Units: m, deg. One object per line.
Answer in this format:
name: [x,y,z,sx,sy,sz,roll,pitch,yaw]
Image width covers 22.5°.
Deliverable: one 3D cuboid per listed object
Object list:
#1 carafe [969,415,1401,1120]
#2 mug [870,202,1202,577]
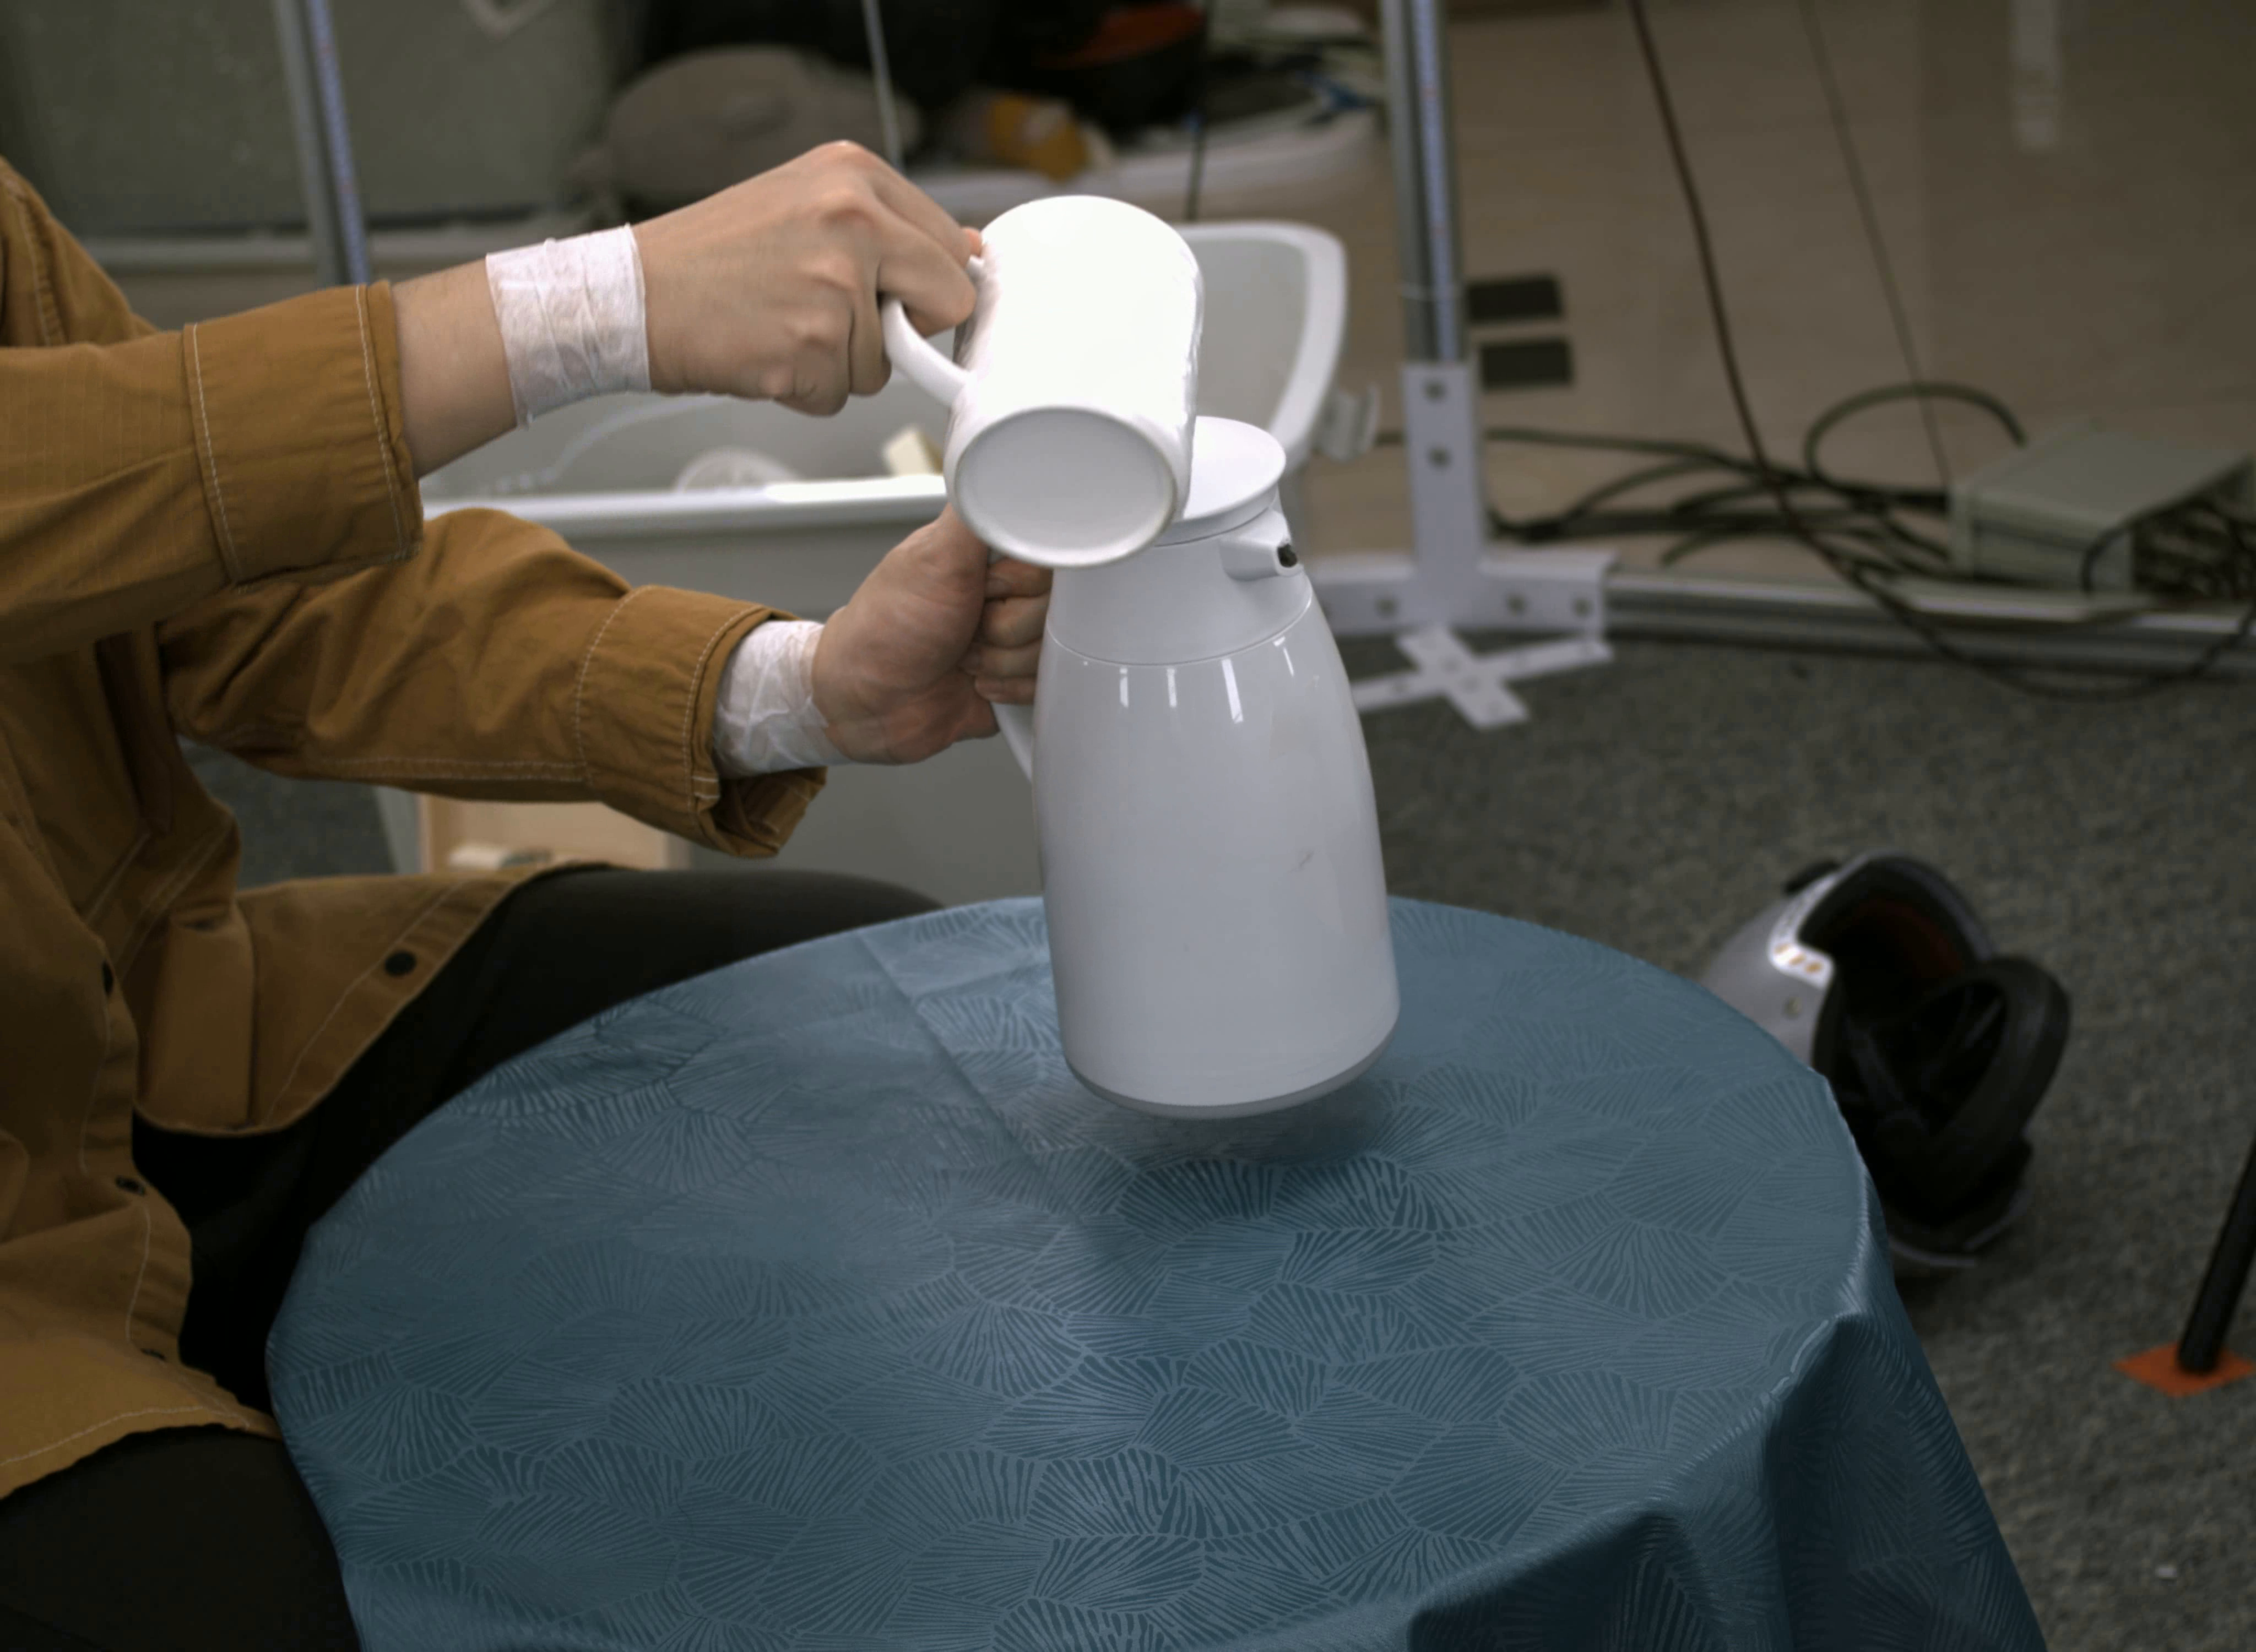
carafe: [0.011,-0.033,2.134,0.166,0.253,0.131,18,39,38]
mug: [-0.033,-0.153,1.917,0.119,0.086,0.100,23,45,-21]
